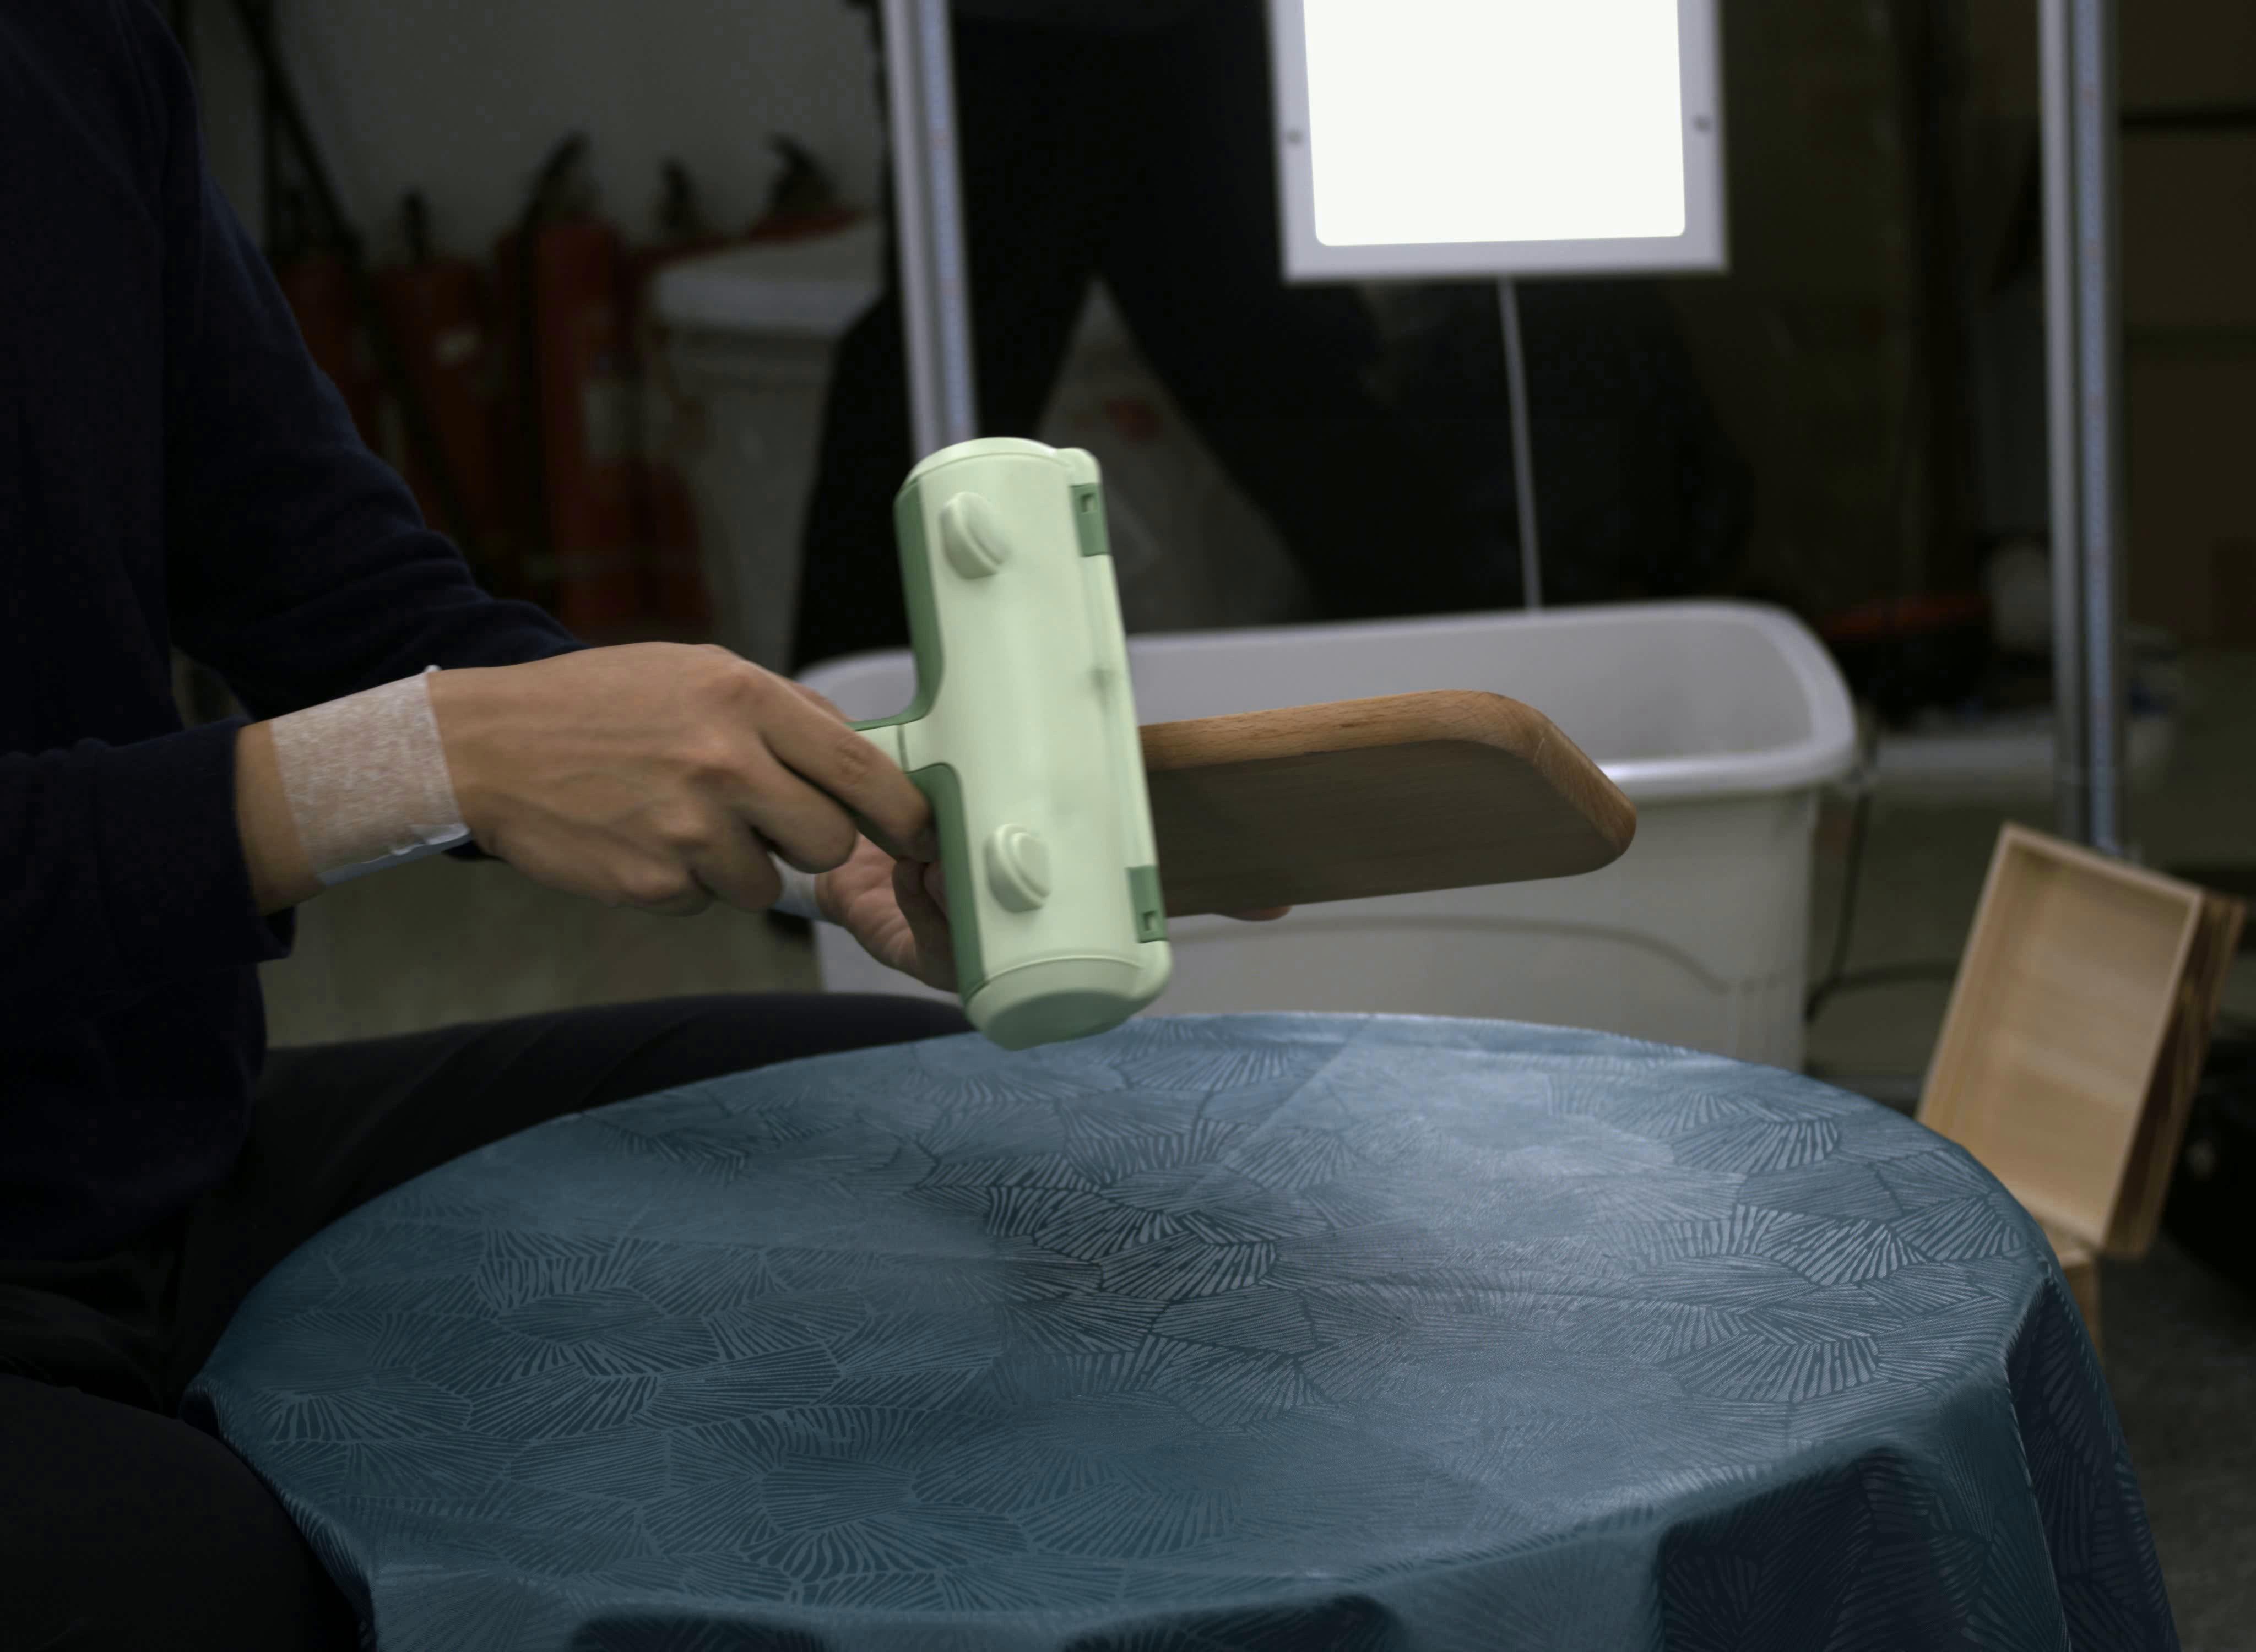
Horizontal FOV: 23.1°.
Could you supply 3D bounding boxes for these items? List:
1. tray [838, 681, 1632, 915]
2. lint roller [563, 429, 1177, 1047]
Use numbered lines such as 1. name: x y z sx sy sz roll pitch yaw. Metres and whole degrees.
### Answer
1. tray: 0.033 -0.005 1.785 0.255 0.023 0.128 -7 -29 29
2. lint roller: -0.087 -0.026 1.720 0.182 0.199 0.082 -7 -25 -3
